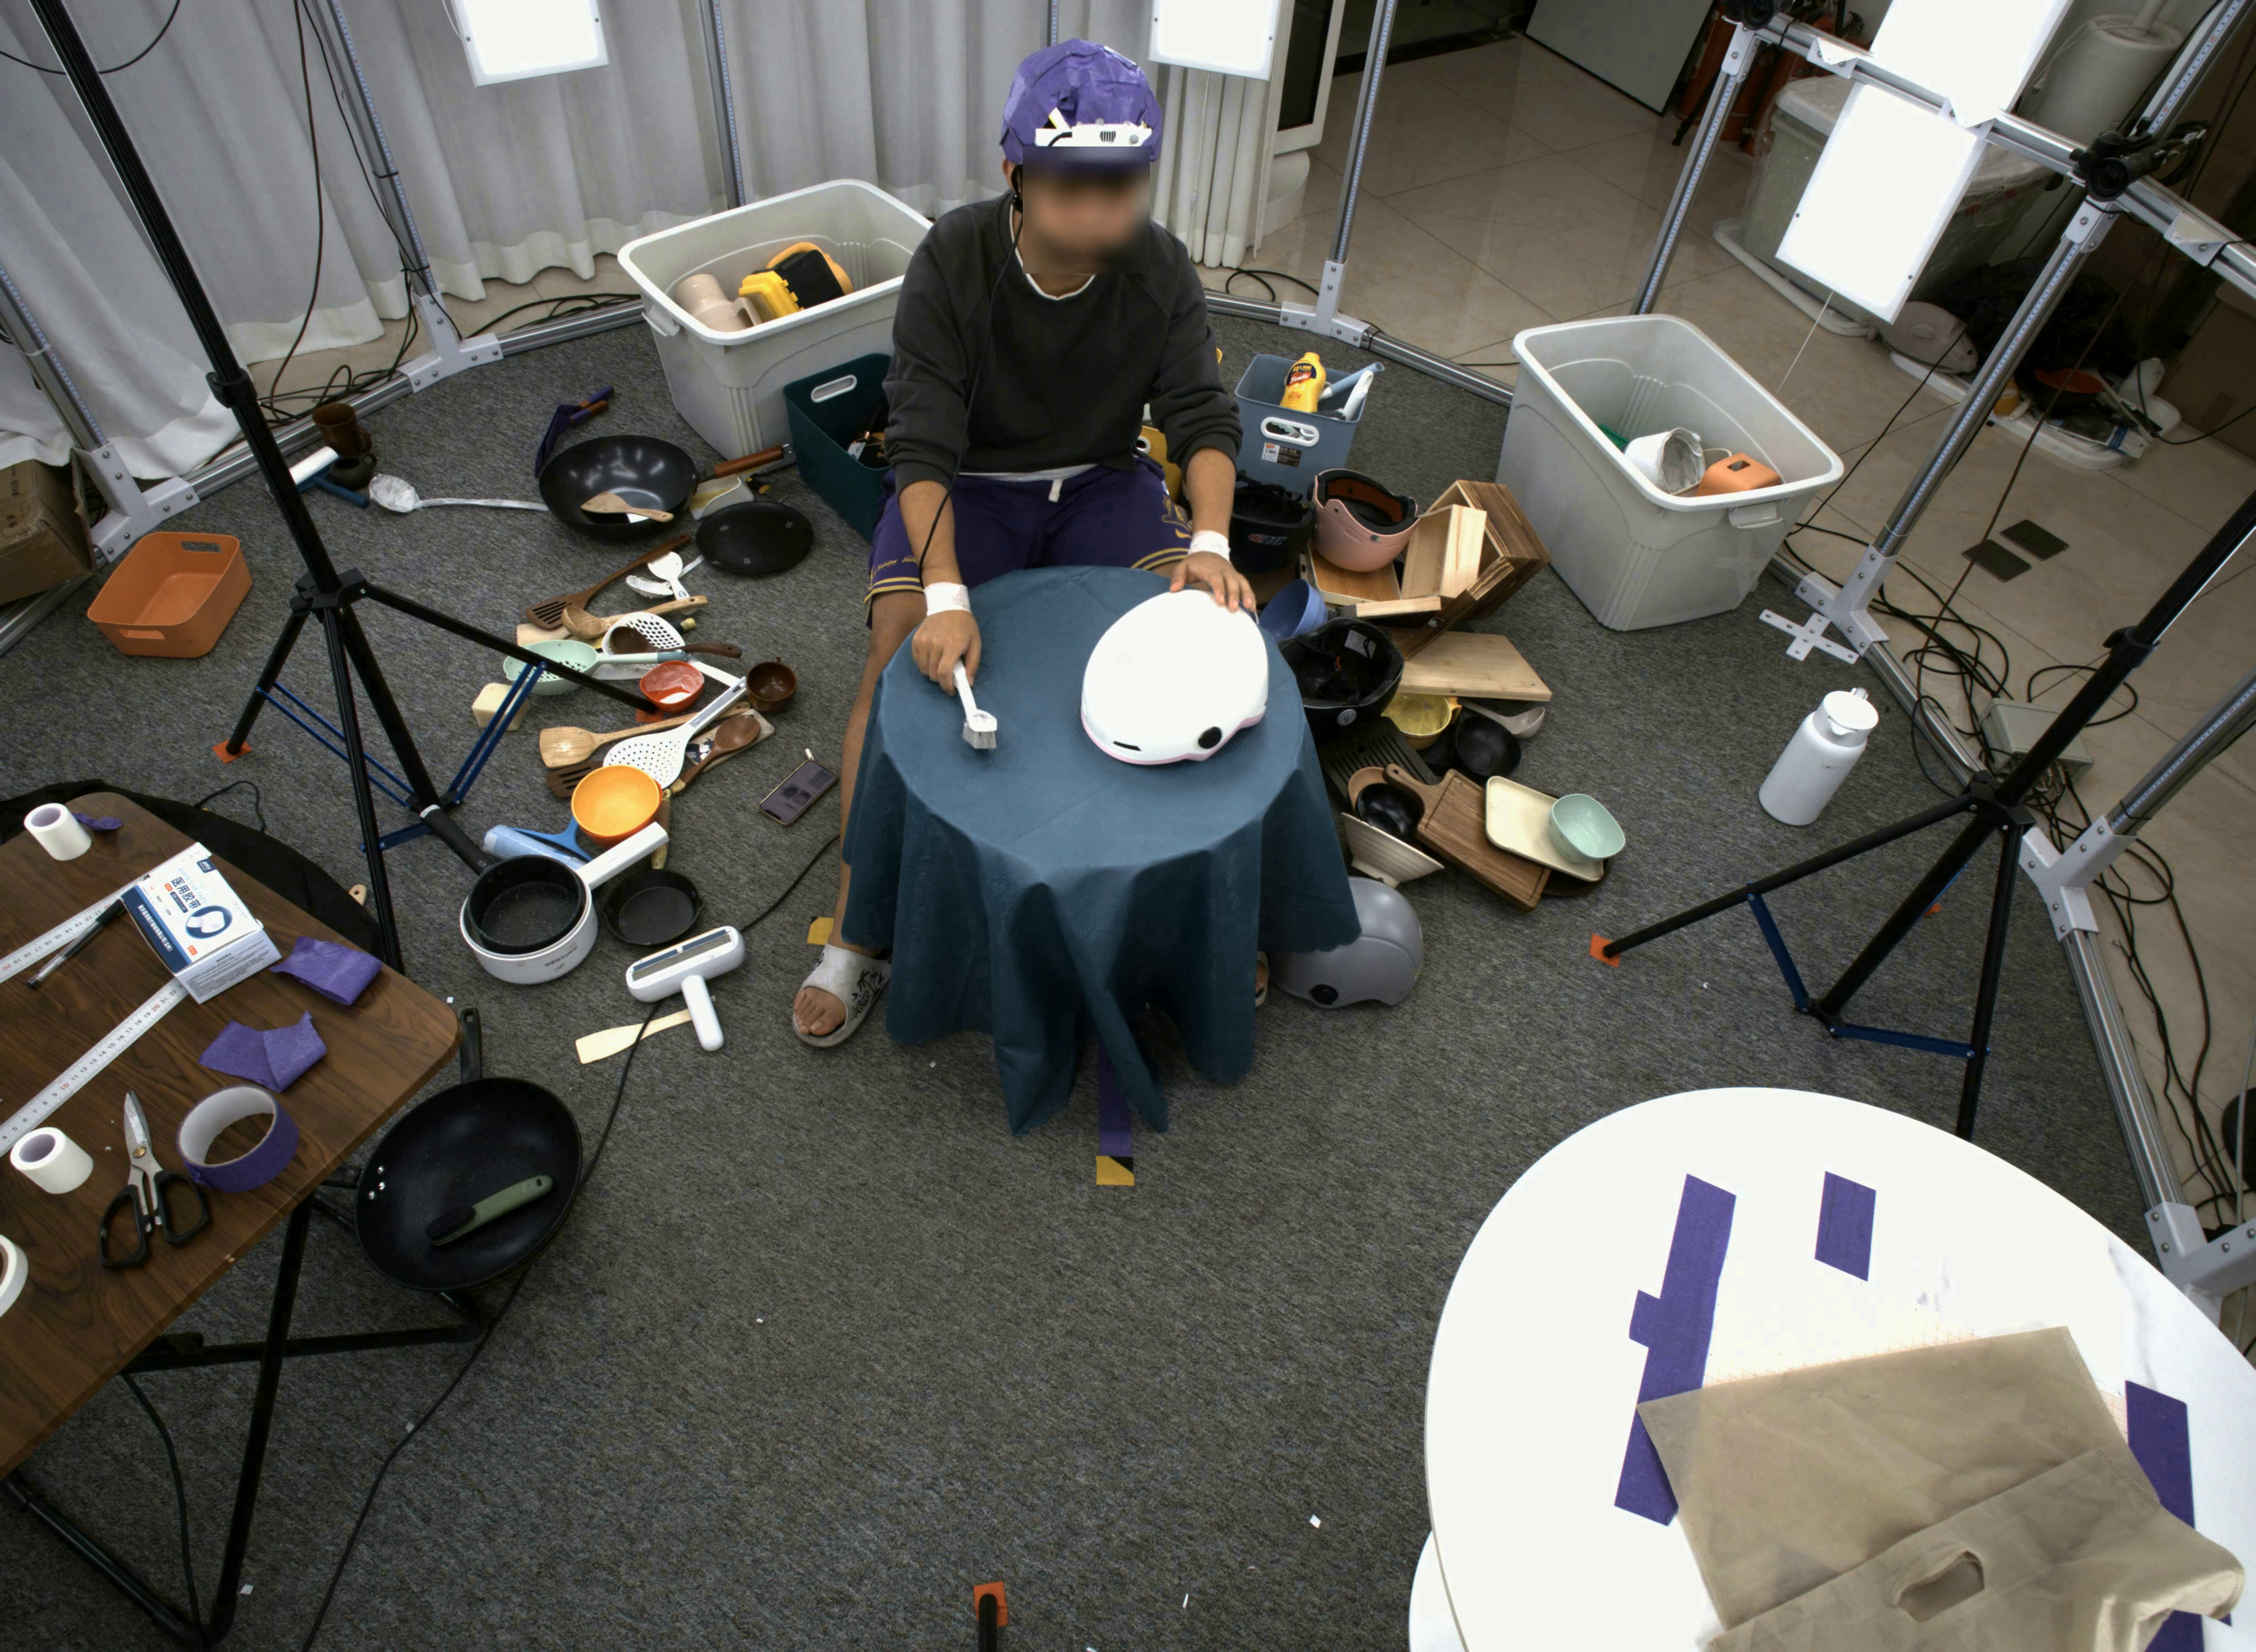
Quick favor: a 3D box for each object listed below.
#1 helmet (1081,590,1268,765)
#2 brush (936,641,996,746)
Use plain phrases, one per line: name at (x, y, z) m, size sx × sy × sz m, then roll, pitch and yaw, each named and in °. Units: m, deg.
helmet at (0.068, -0.219, 1.756) m, size 0.270 × 0.163 × 0.242 m, roll -25°, pitch 55°, yaw -23°
brush at (-0.231, -0.183, 1.793) m, size 0.034 × 0.049 × 0.249 m, roll -3°, pitch 36°, yaw -23°
